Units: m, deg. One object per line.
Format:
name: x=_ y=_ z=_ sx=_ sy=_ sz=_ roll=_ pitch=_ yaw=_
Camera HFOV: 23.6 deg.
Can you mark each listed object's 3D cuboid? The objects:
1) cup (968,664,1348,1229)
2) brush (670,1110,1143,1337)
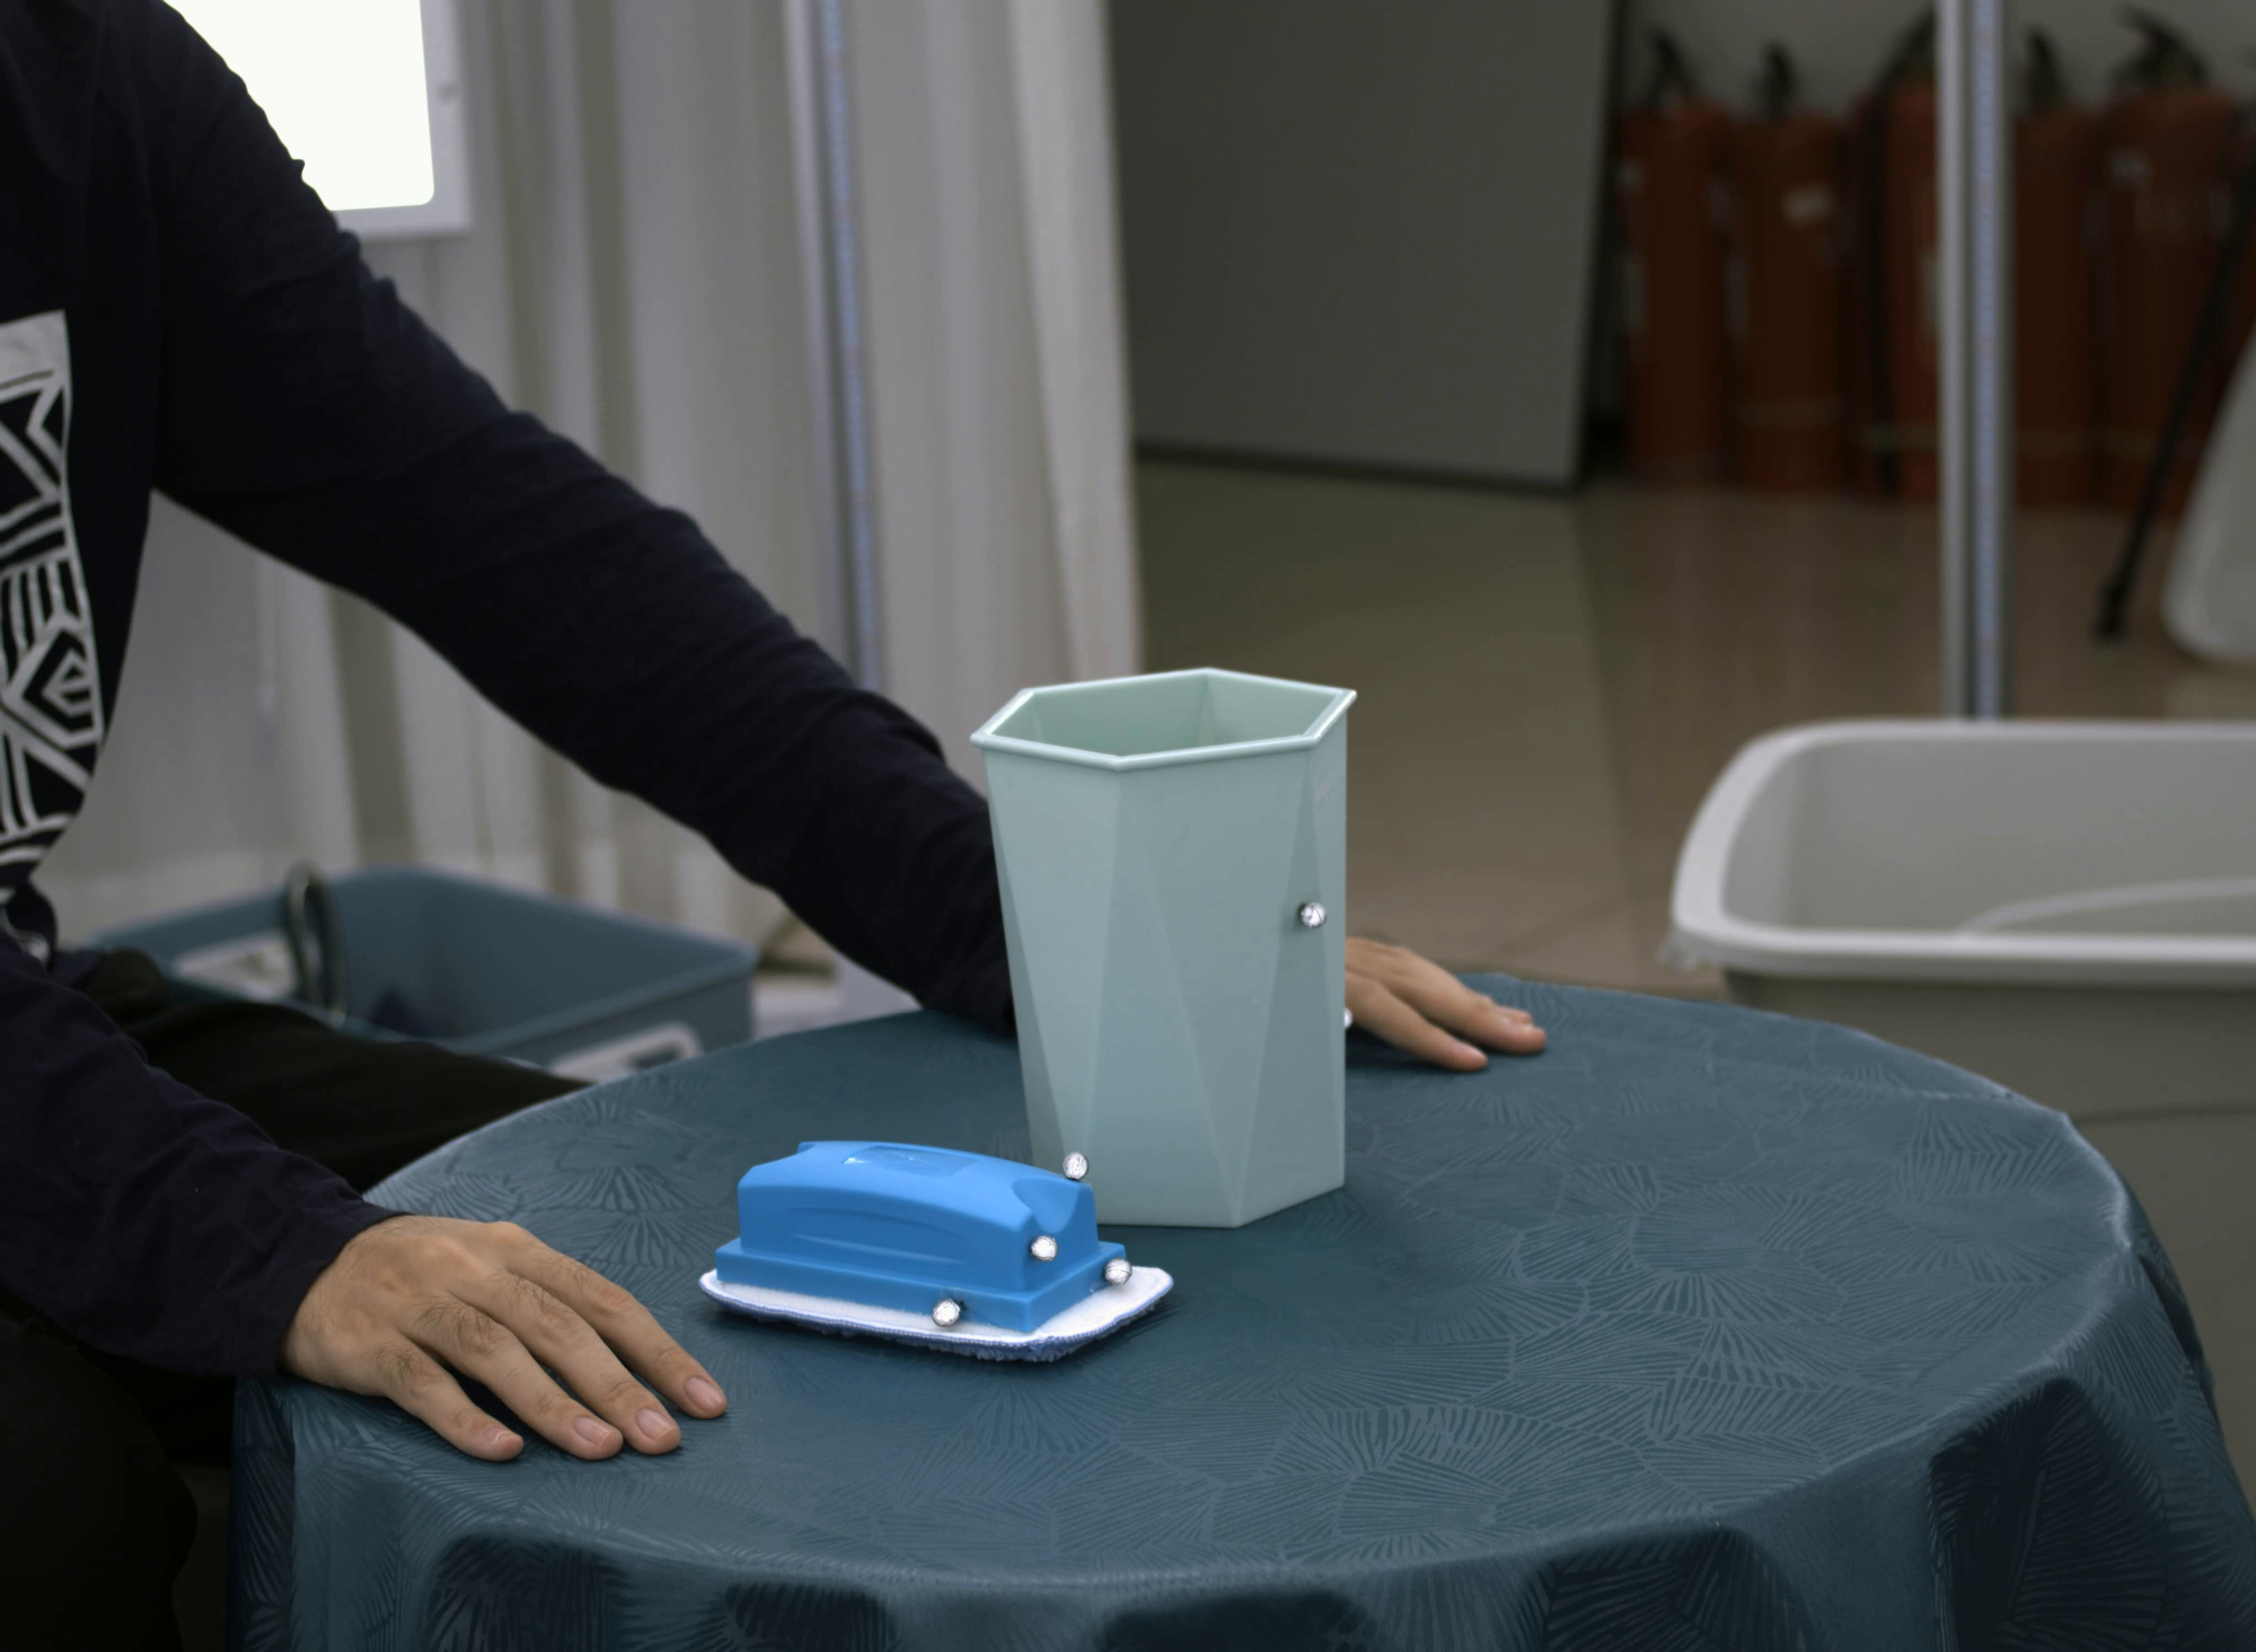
cup: x=0.017 y=0.040 z=1.759 sx=0.114 sy=0.165 sz=0.130 roll=-2 pitch=13 yaw=14
brush: x=-0.068 y=0.121 z=1.667 sx=0.145 sy=0.056 sz=0.082 roll=9 pitch=16 yaw=36
